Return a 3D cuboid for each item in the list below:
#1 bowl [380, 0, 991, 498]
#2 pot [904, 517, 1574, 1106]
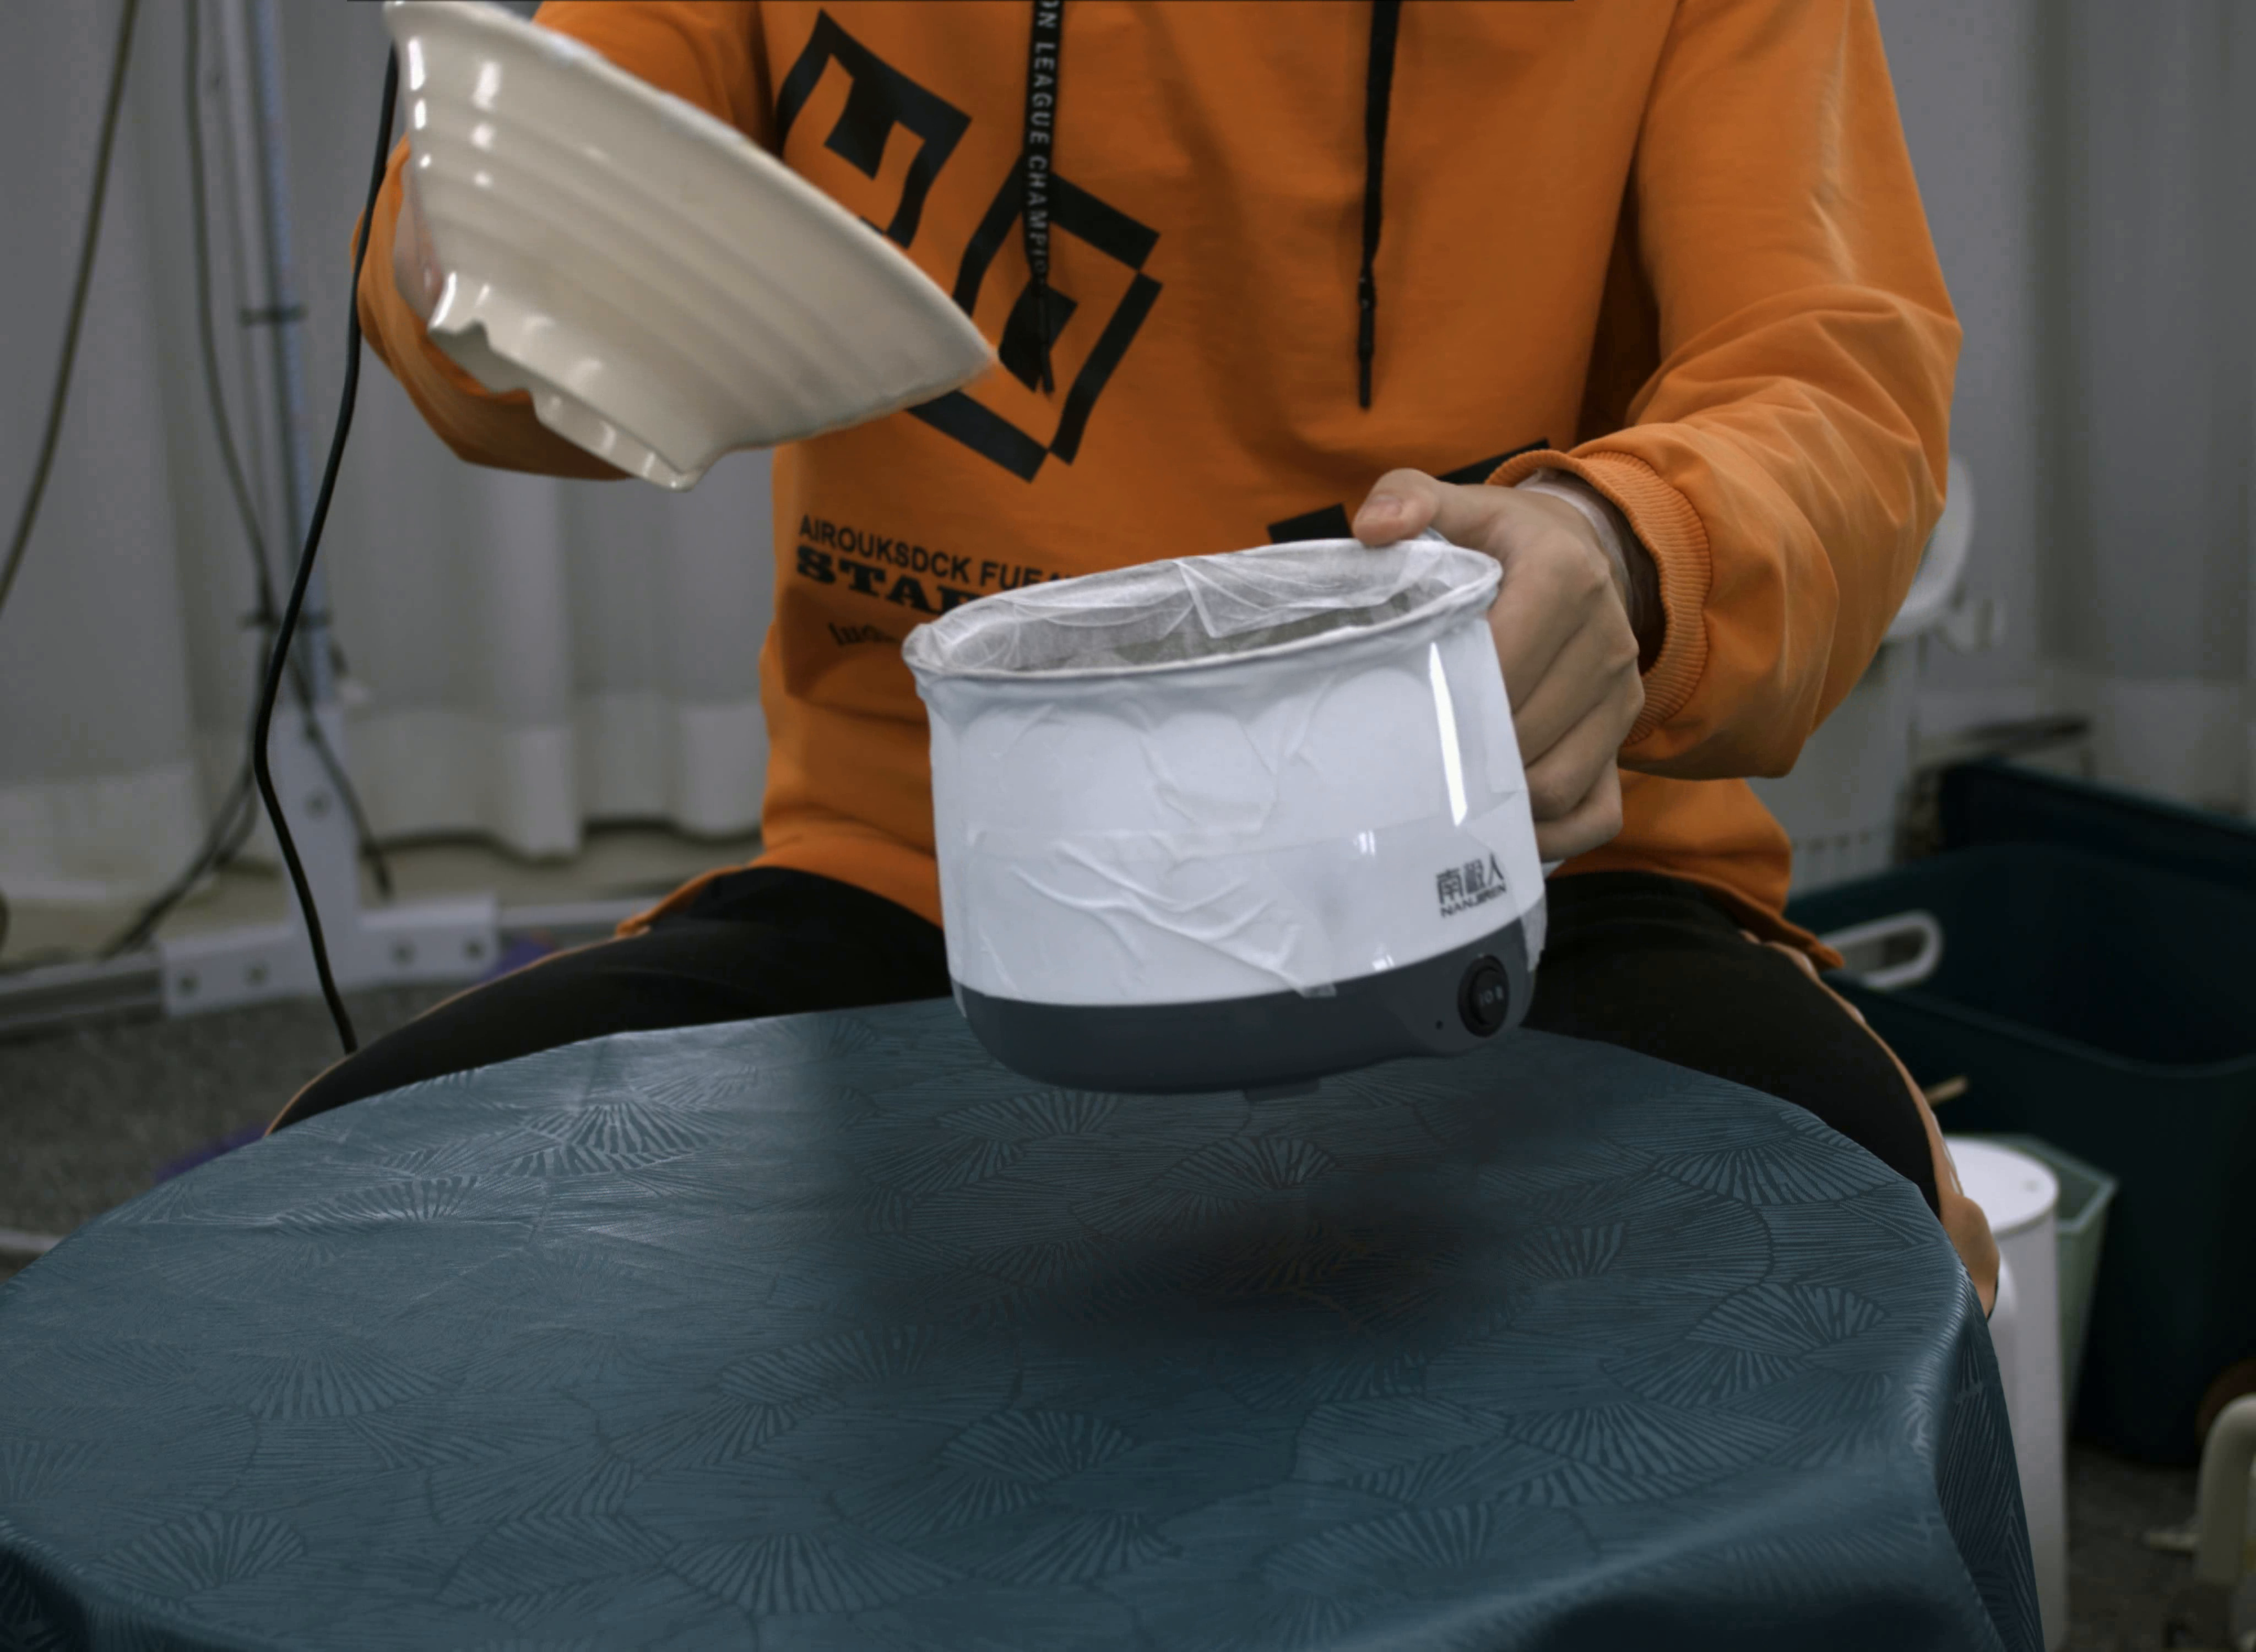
[{"bbox_3d":[-0.144,-0.149,1.561,0.204,0.078,0.203,30,-9,5],"label":"bowl"},{"bbox_3d":[0.048,-0.009,1.622,0.179,0.136,0.233,3,16,40],"label":"pot"}]
